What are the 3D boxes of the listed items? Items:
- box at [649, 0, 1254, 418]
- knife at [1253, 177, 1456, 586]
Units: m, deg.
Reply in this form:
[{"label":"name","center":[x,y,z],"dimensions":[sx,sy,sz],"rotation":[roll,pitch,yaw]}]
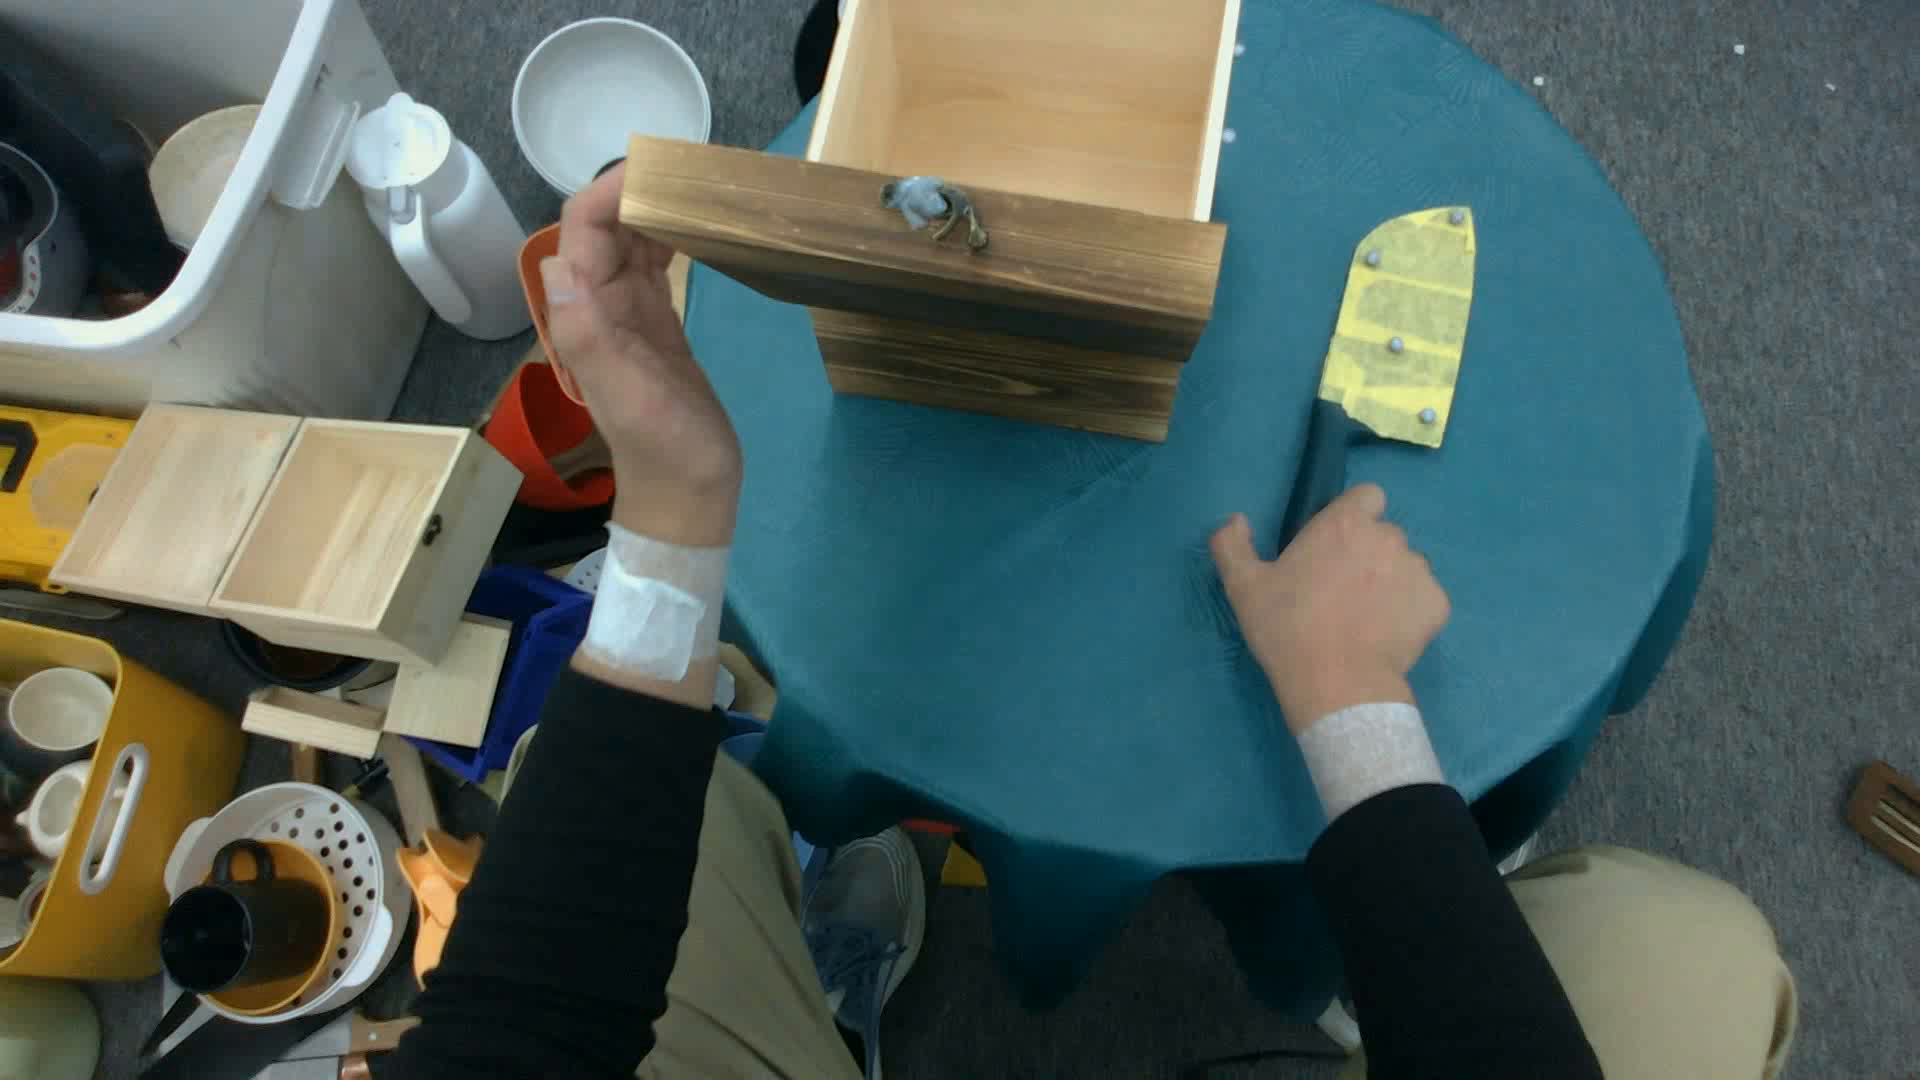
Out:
[{"label":"box","center":[0.020,-0.193,0.660],"dimensions":[0.208,0.374,0.323],"rotation":[9,71,5]},{"label":"knife","center":[0.232,-0.098,0.801],"dimensions":[0.081,0.027,0.290],"rotation":[20,70,11]}]
